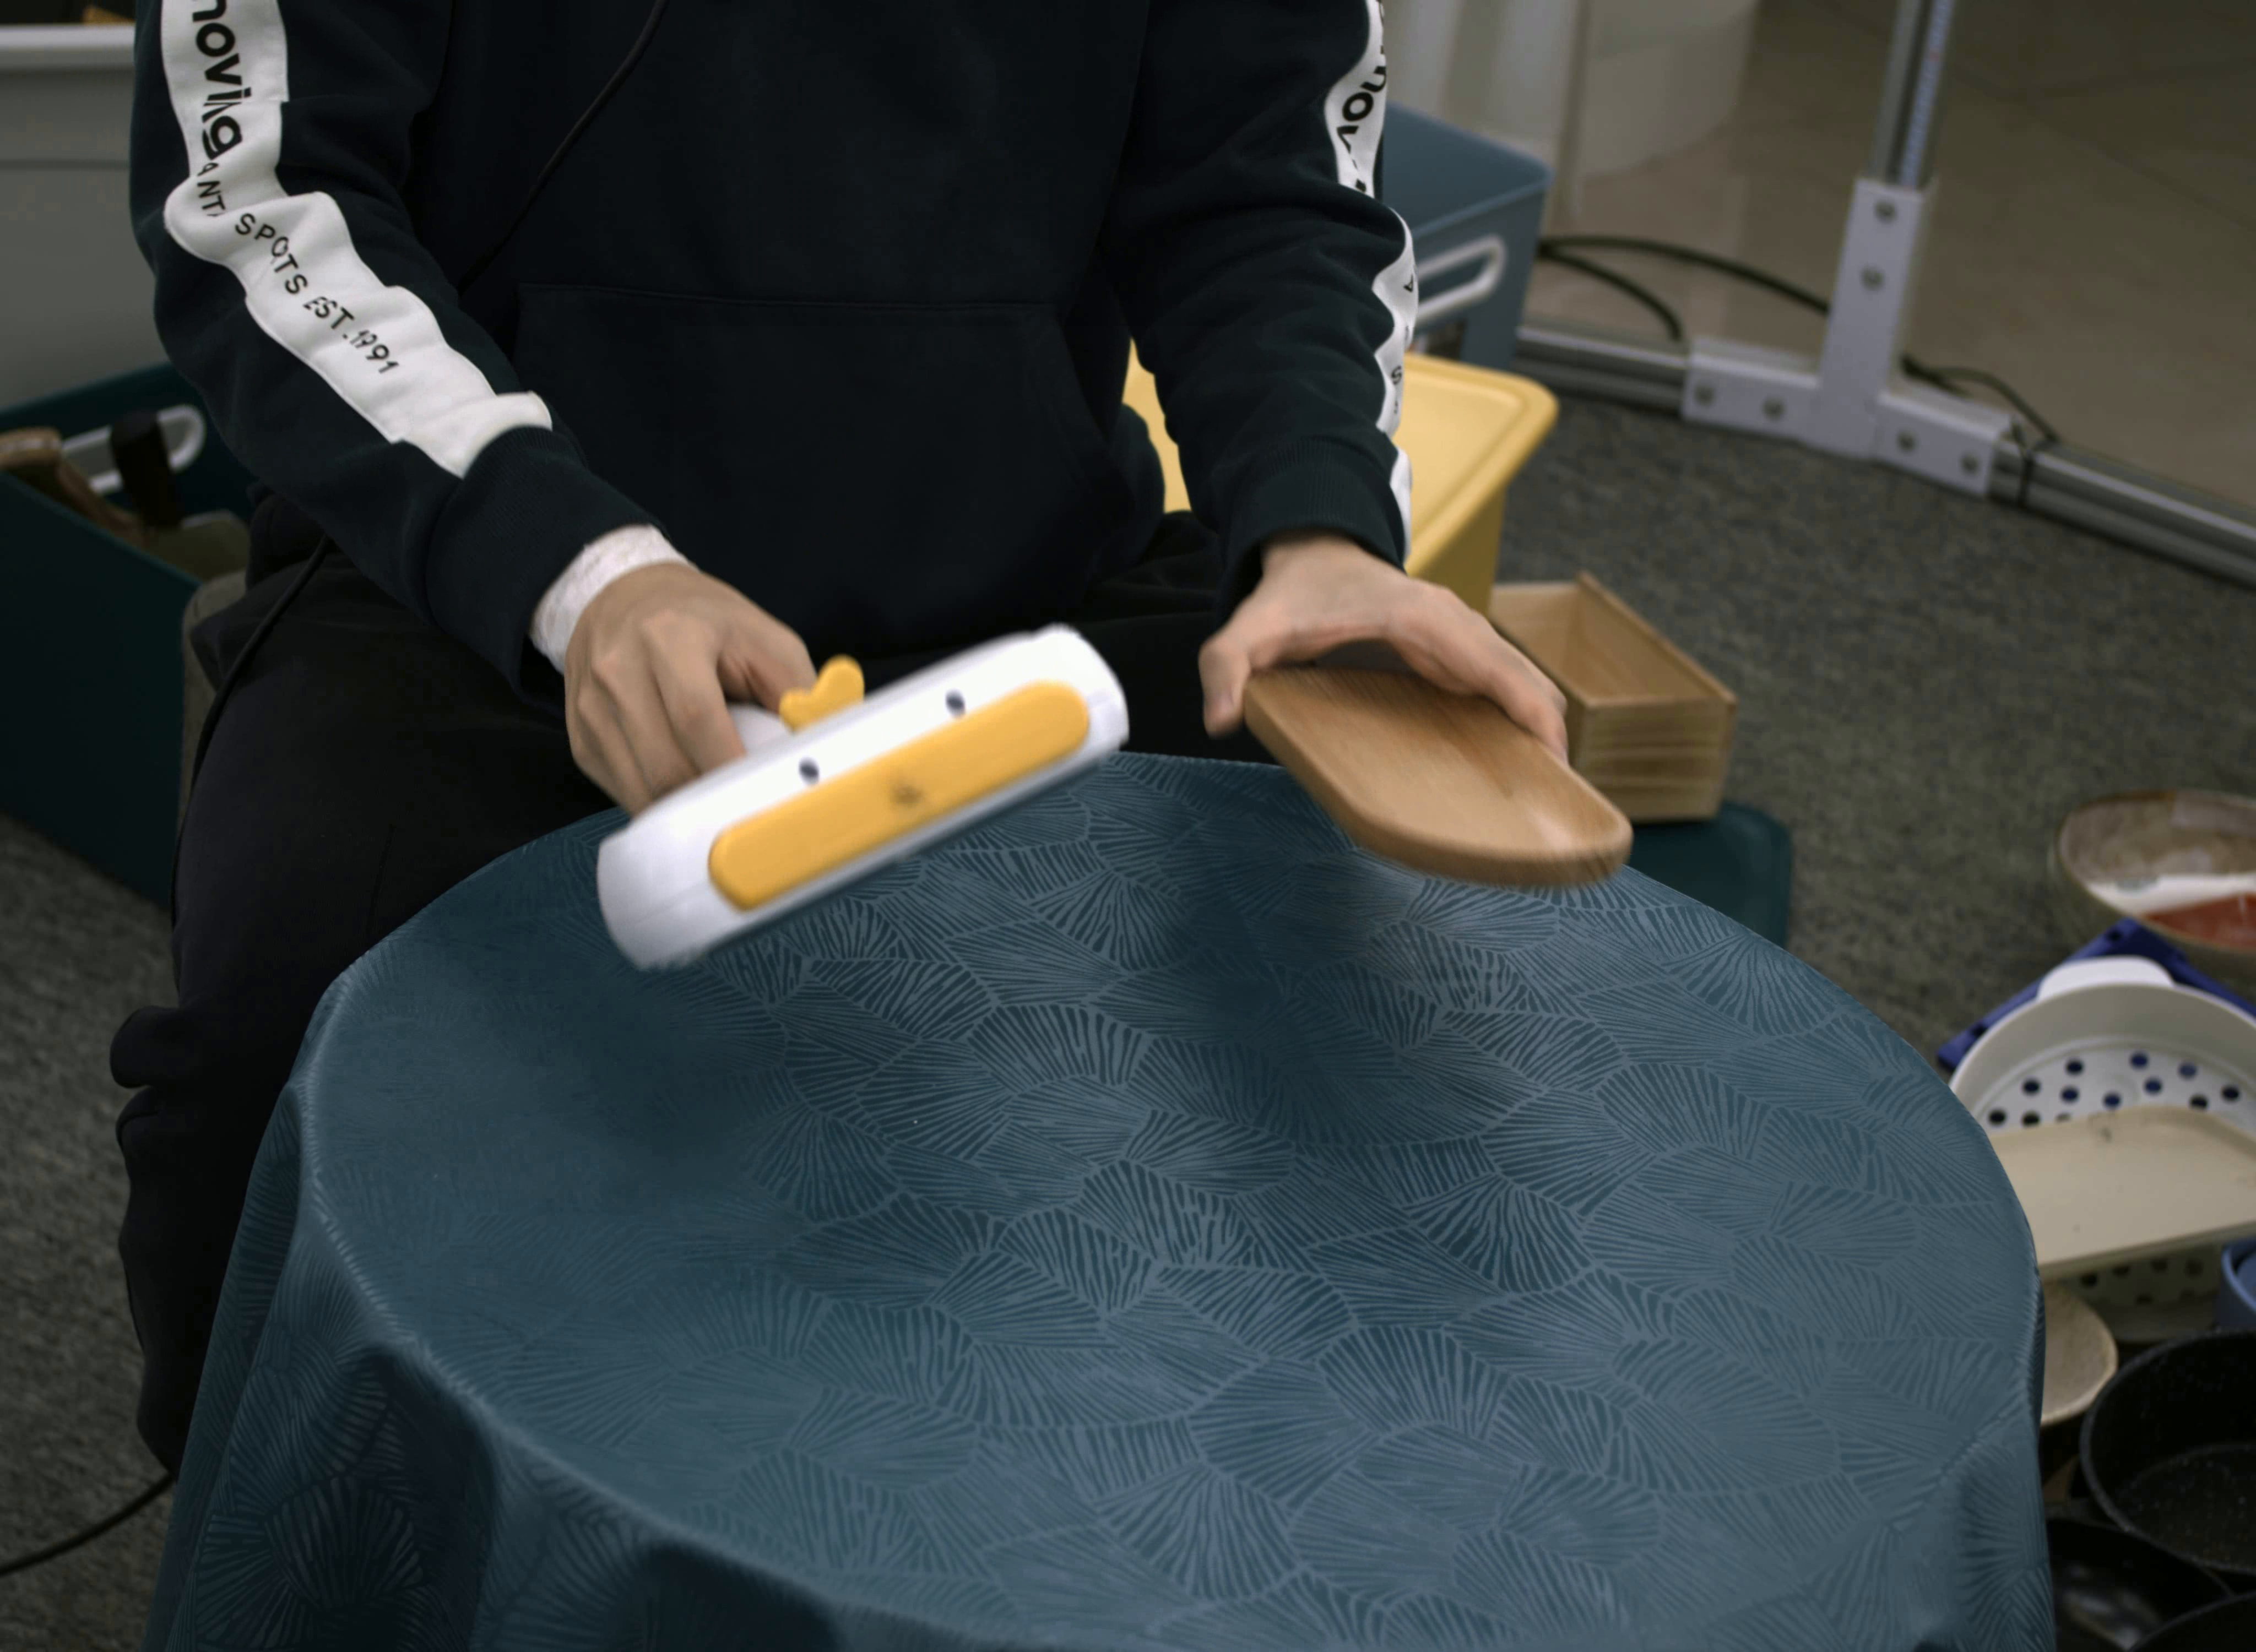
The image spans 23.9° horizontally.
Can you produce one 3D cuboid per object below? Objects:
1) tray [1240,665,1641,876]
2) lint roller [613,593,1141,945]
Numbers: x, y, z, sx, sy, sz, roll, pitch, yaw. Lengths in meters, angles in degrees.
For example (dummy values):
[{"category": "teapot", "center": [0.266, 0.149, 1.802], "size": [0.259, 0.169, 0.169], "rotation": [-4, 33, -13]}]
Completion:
[{"category": "tray", "center": [0.107, -0.021, 1.881], "size": [0.101, 0.020, 0.233], "rotation": [2, 17, -16]}, {"category": "lint roller", "center": [-0.114, -0.022, 1.813], "size": [0.192, 0.074, 0.193], "rotation": [-32, 13, -27]}]
